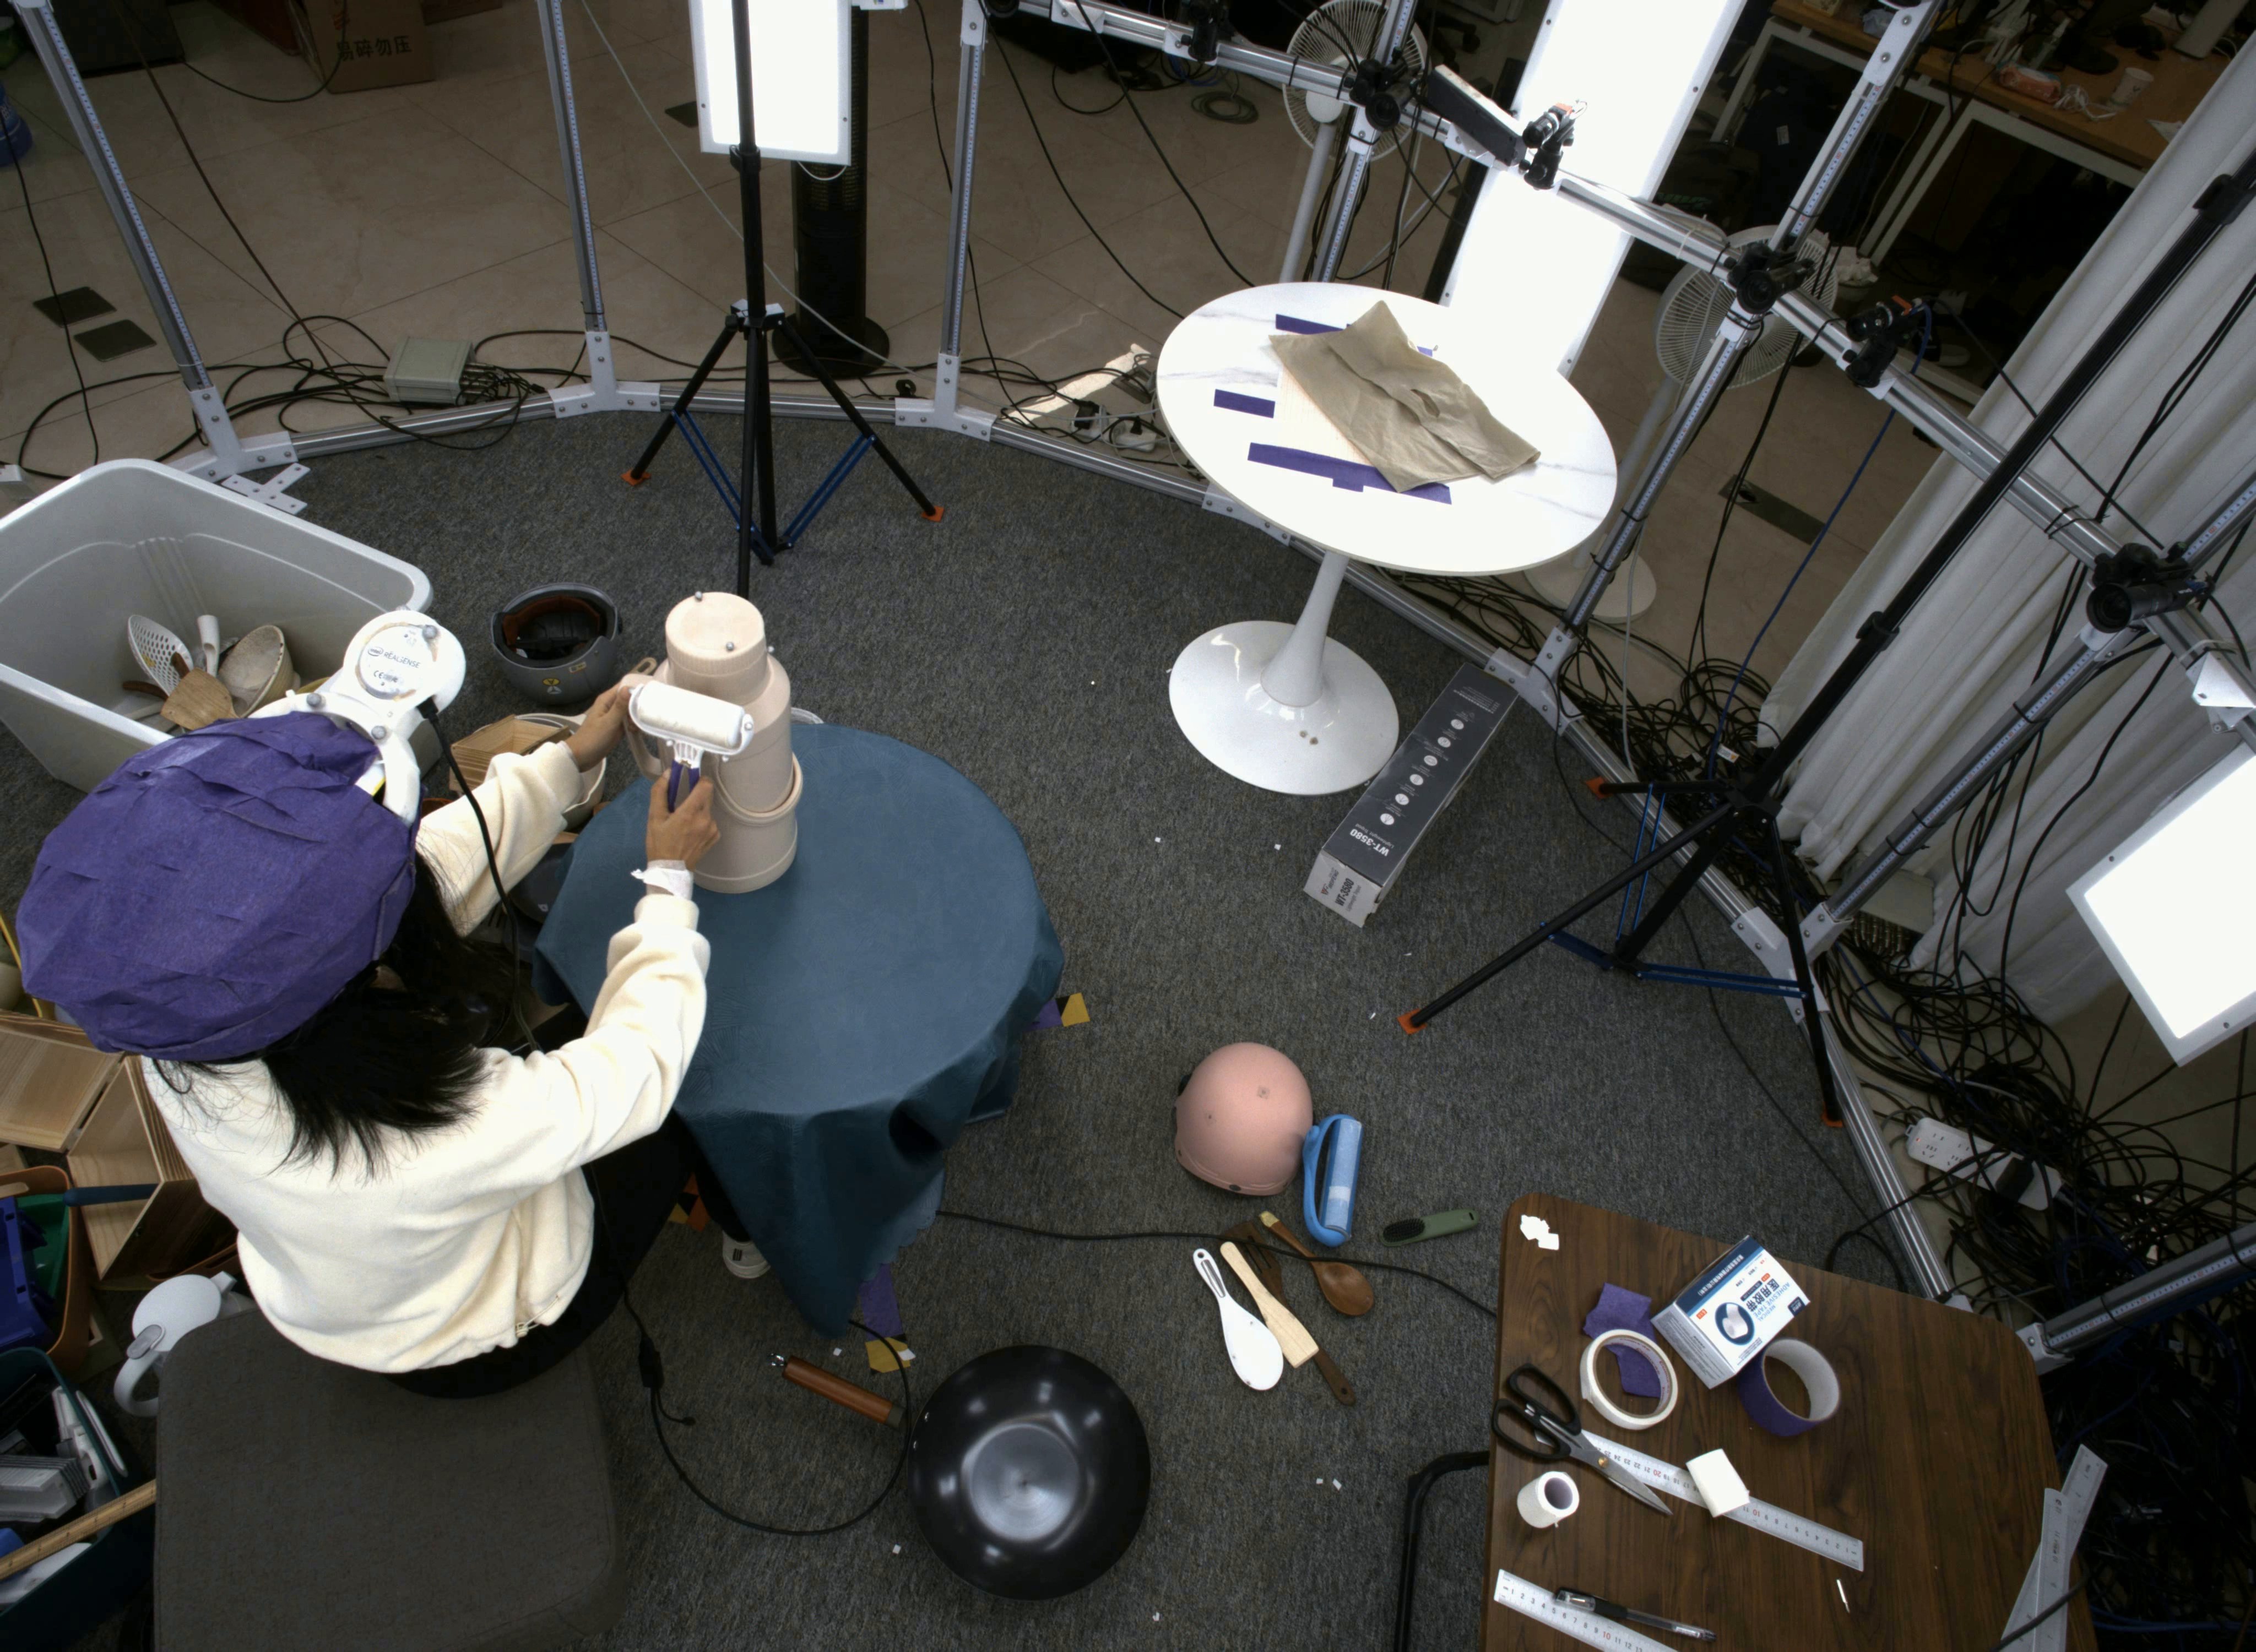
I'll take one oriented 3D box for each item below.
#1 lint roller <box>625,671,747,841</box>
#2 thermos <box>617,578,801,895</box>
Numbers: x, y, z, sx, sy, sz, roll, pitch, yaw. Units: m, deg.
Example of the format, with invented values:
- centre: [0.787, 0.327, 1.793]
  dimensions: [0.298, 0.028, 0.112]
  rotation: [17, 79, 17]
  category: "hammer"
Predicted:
- centre: [-0.480, -0.066, 1.363]
  dimensions: [0.132, 0.184, 0.049]
  rotation: [16, 17, -2]
  category: "lint roller"
- centre: [-0.493, -0.104, 1.522]
  dimensions: [0.206, 0.415, 0.172]
  rotation: [5, 52, -7]
  category: "thermos"
